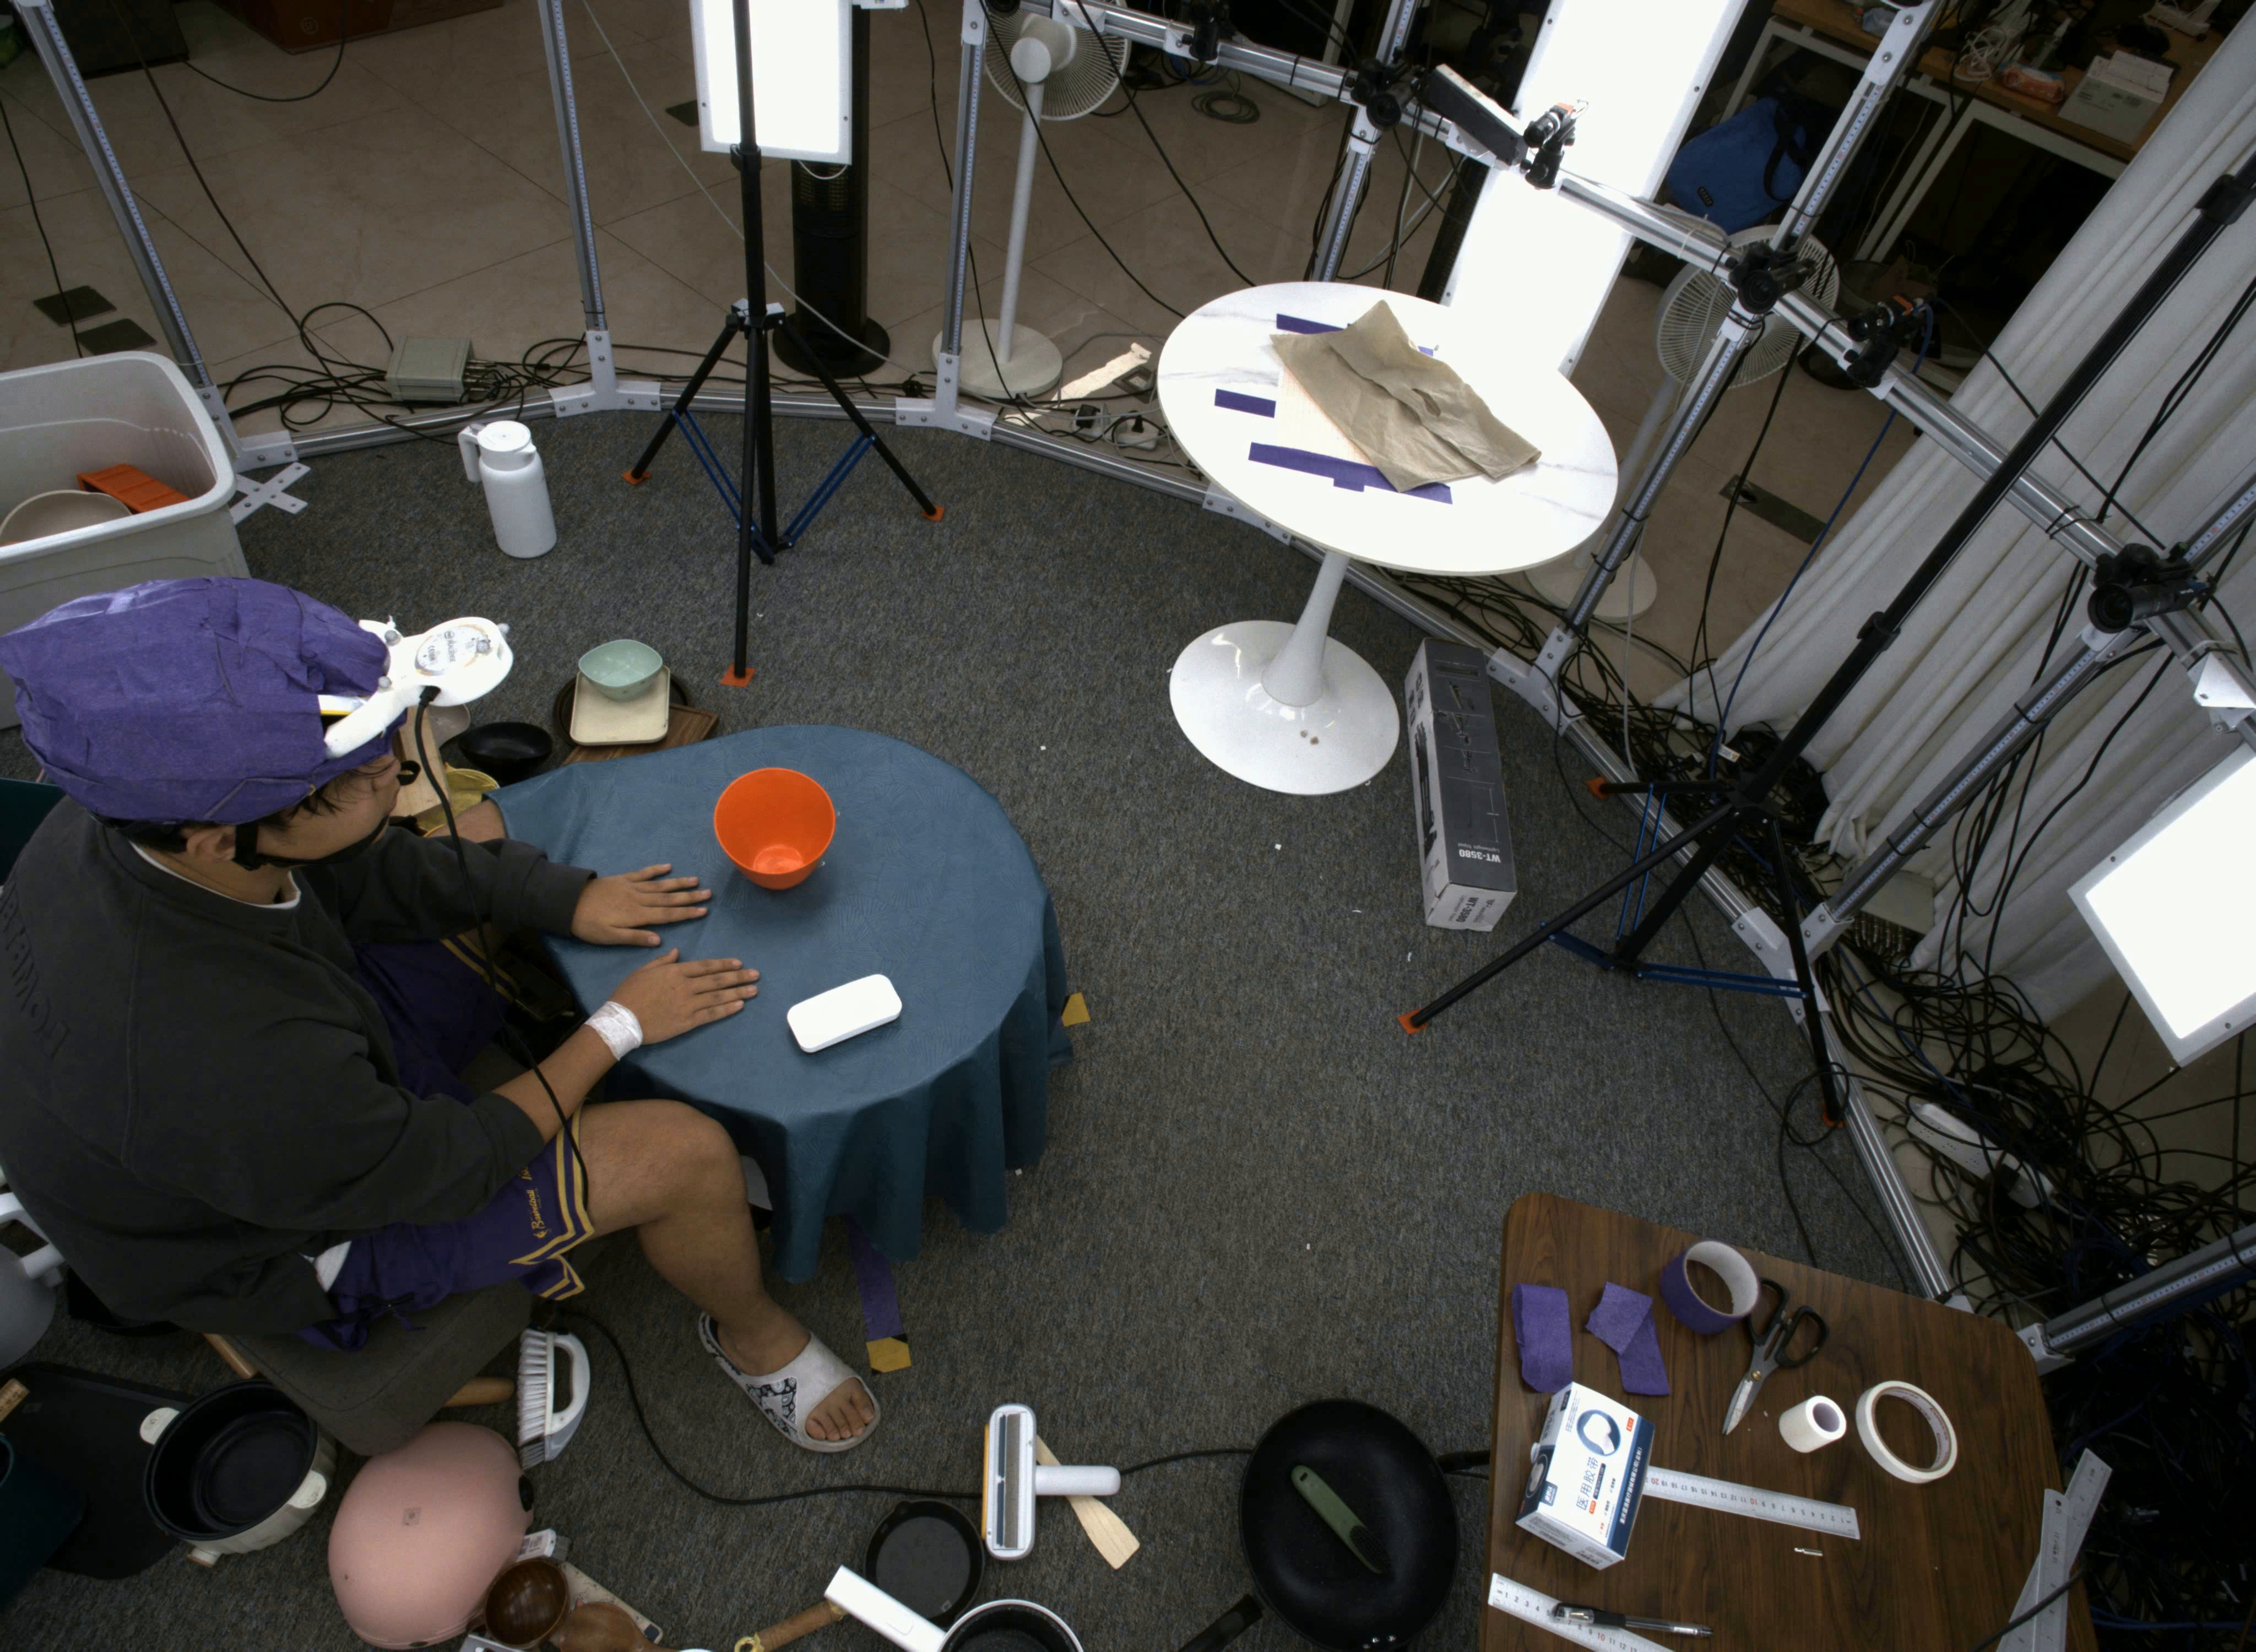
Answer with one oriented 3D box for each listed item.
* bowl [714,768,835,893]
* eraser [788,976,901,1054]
[{"bbox_3d":[-0.447,0.016,1.647,0.148,0.107,0.145,7,53,-8],"label":"bowl"},{"bbox_3d":[-0.341,0.222,1.563,0.132,0.035,0.062,-18,58,-27],"label":"eraser"}]
